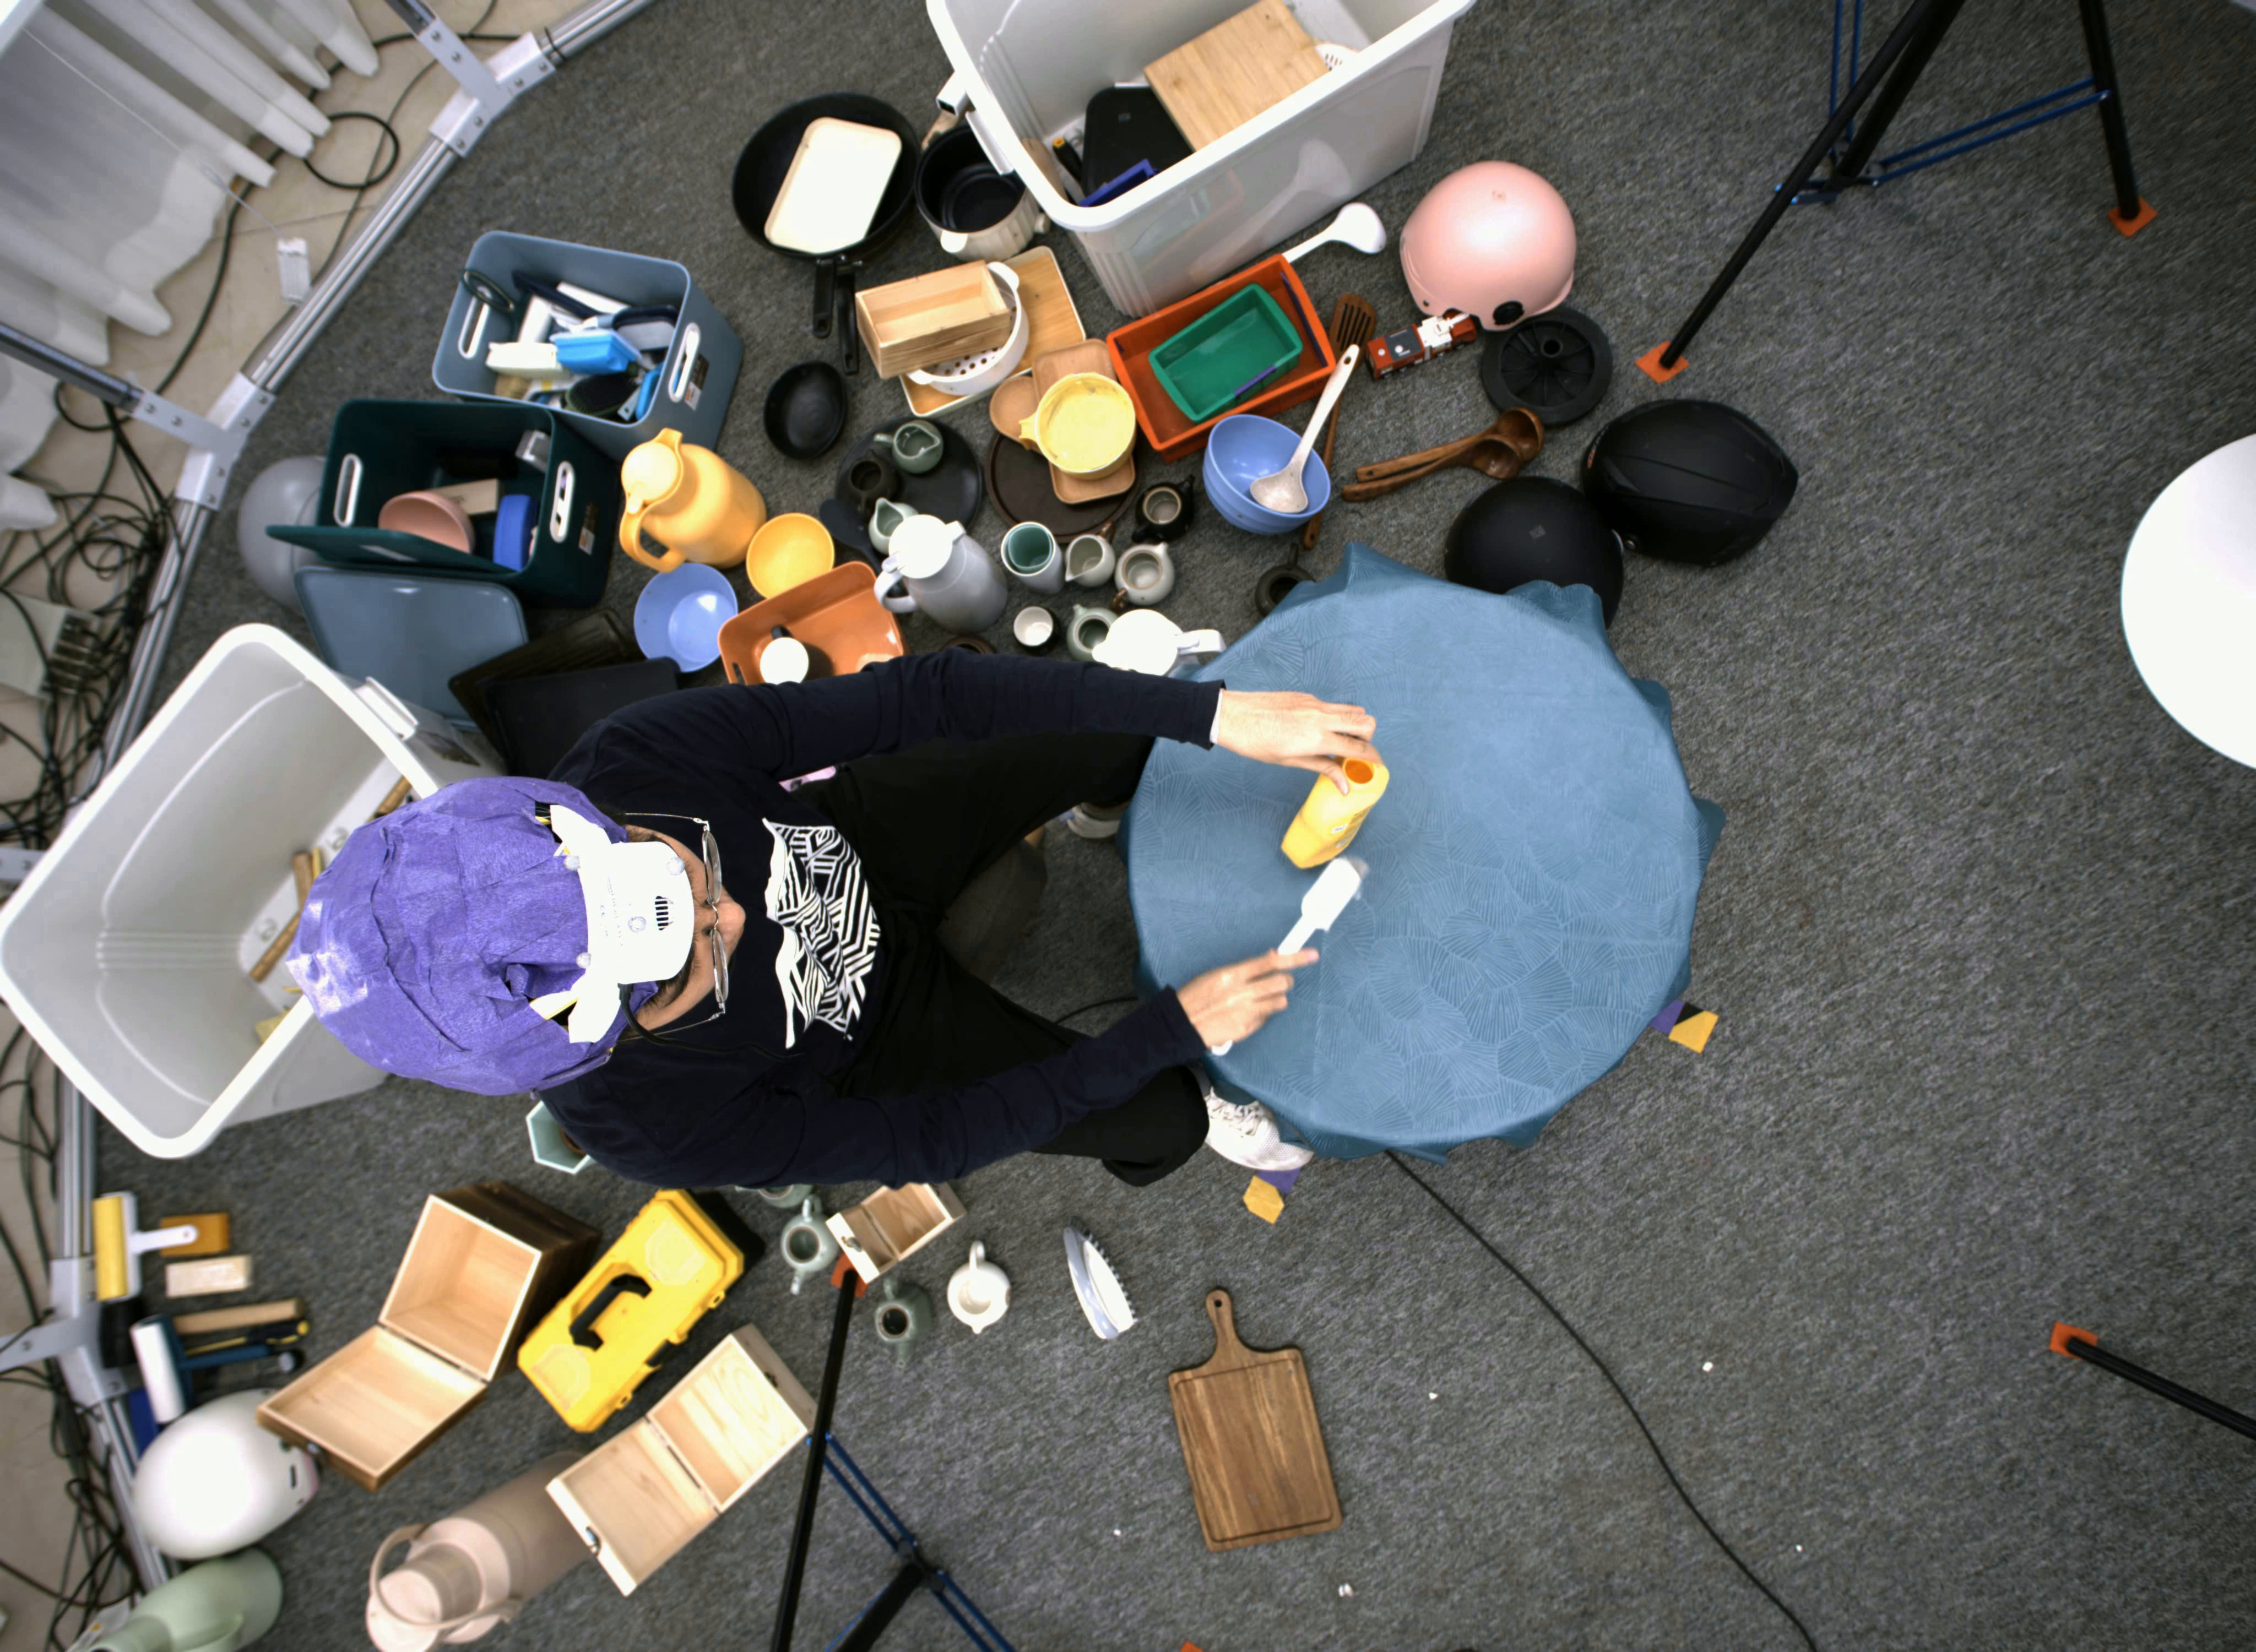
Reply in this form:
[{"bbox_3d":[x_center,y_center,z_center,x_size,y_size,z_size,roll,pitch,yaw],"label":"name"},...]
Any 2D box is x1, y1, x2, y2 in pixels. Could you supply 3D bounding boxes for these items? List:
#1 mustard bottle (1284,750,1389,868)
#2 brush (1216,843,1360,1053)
[{"bbox_3d":[0.211,-0.023,1.377,0.097,0.175,0.059,-43,77,-15],"label":"mustard bottle"},{"bbox_3d":[0.157,0.123,1.390,0.034,0.049,0.247,30,110,2],"label":"brush"}]
